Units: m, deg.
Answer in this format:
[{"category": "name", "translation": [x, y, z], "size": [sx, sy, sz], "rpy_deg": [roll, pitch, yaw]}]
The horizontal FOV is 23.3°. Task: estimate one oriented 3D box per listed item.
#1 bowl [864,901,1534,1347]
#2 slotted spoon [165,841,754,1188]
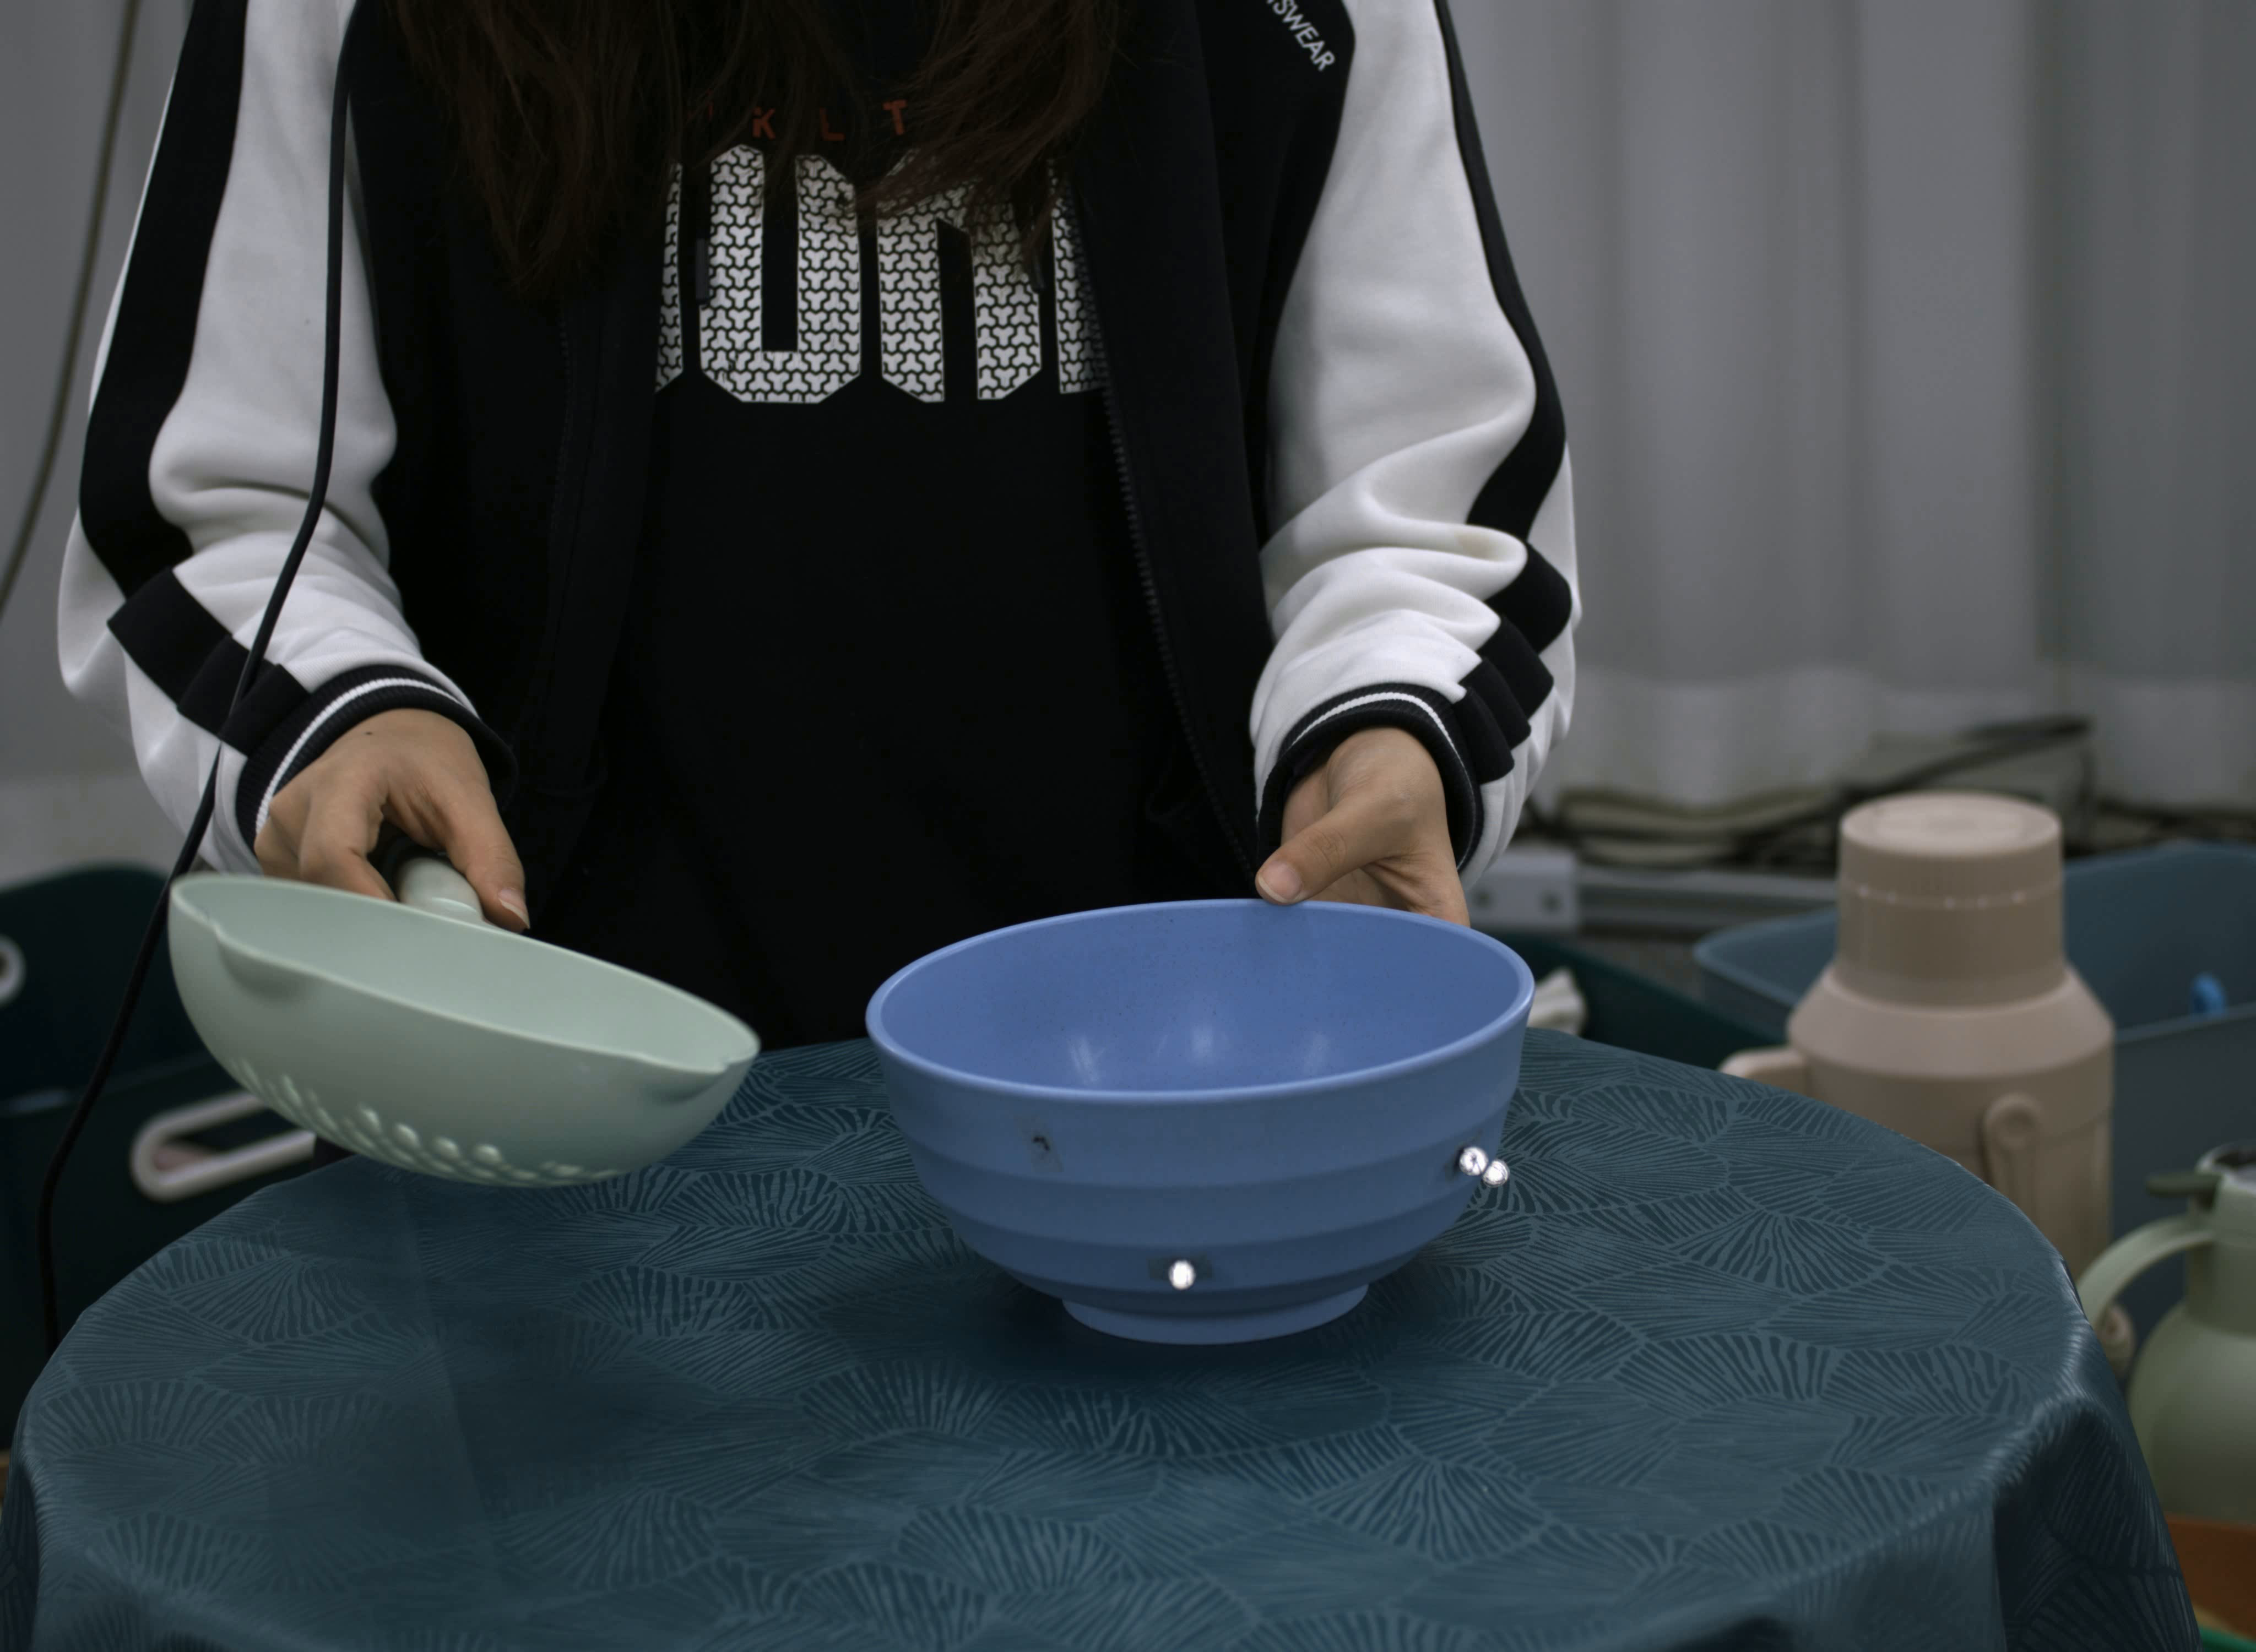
[{"category": "bowl", "translation": [0.023, 0.093, 1.608], "size": [0.196, 0.095, 0.198], "rpy_deg": [-3, 14, 1]}, {"category": "slotted spoon", "translation": [-0.203, 0.038, 1.617], "size": [0.168, 0.075, 0.361], "rpy_deg": [19, 12, -10]}]
